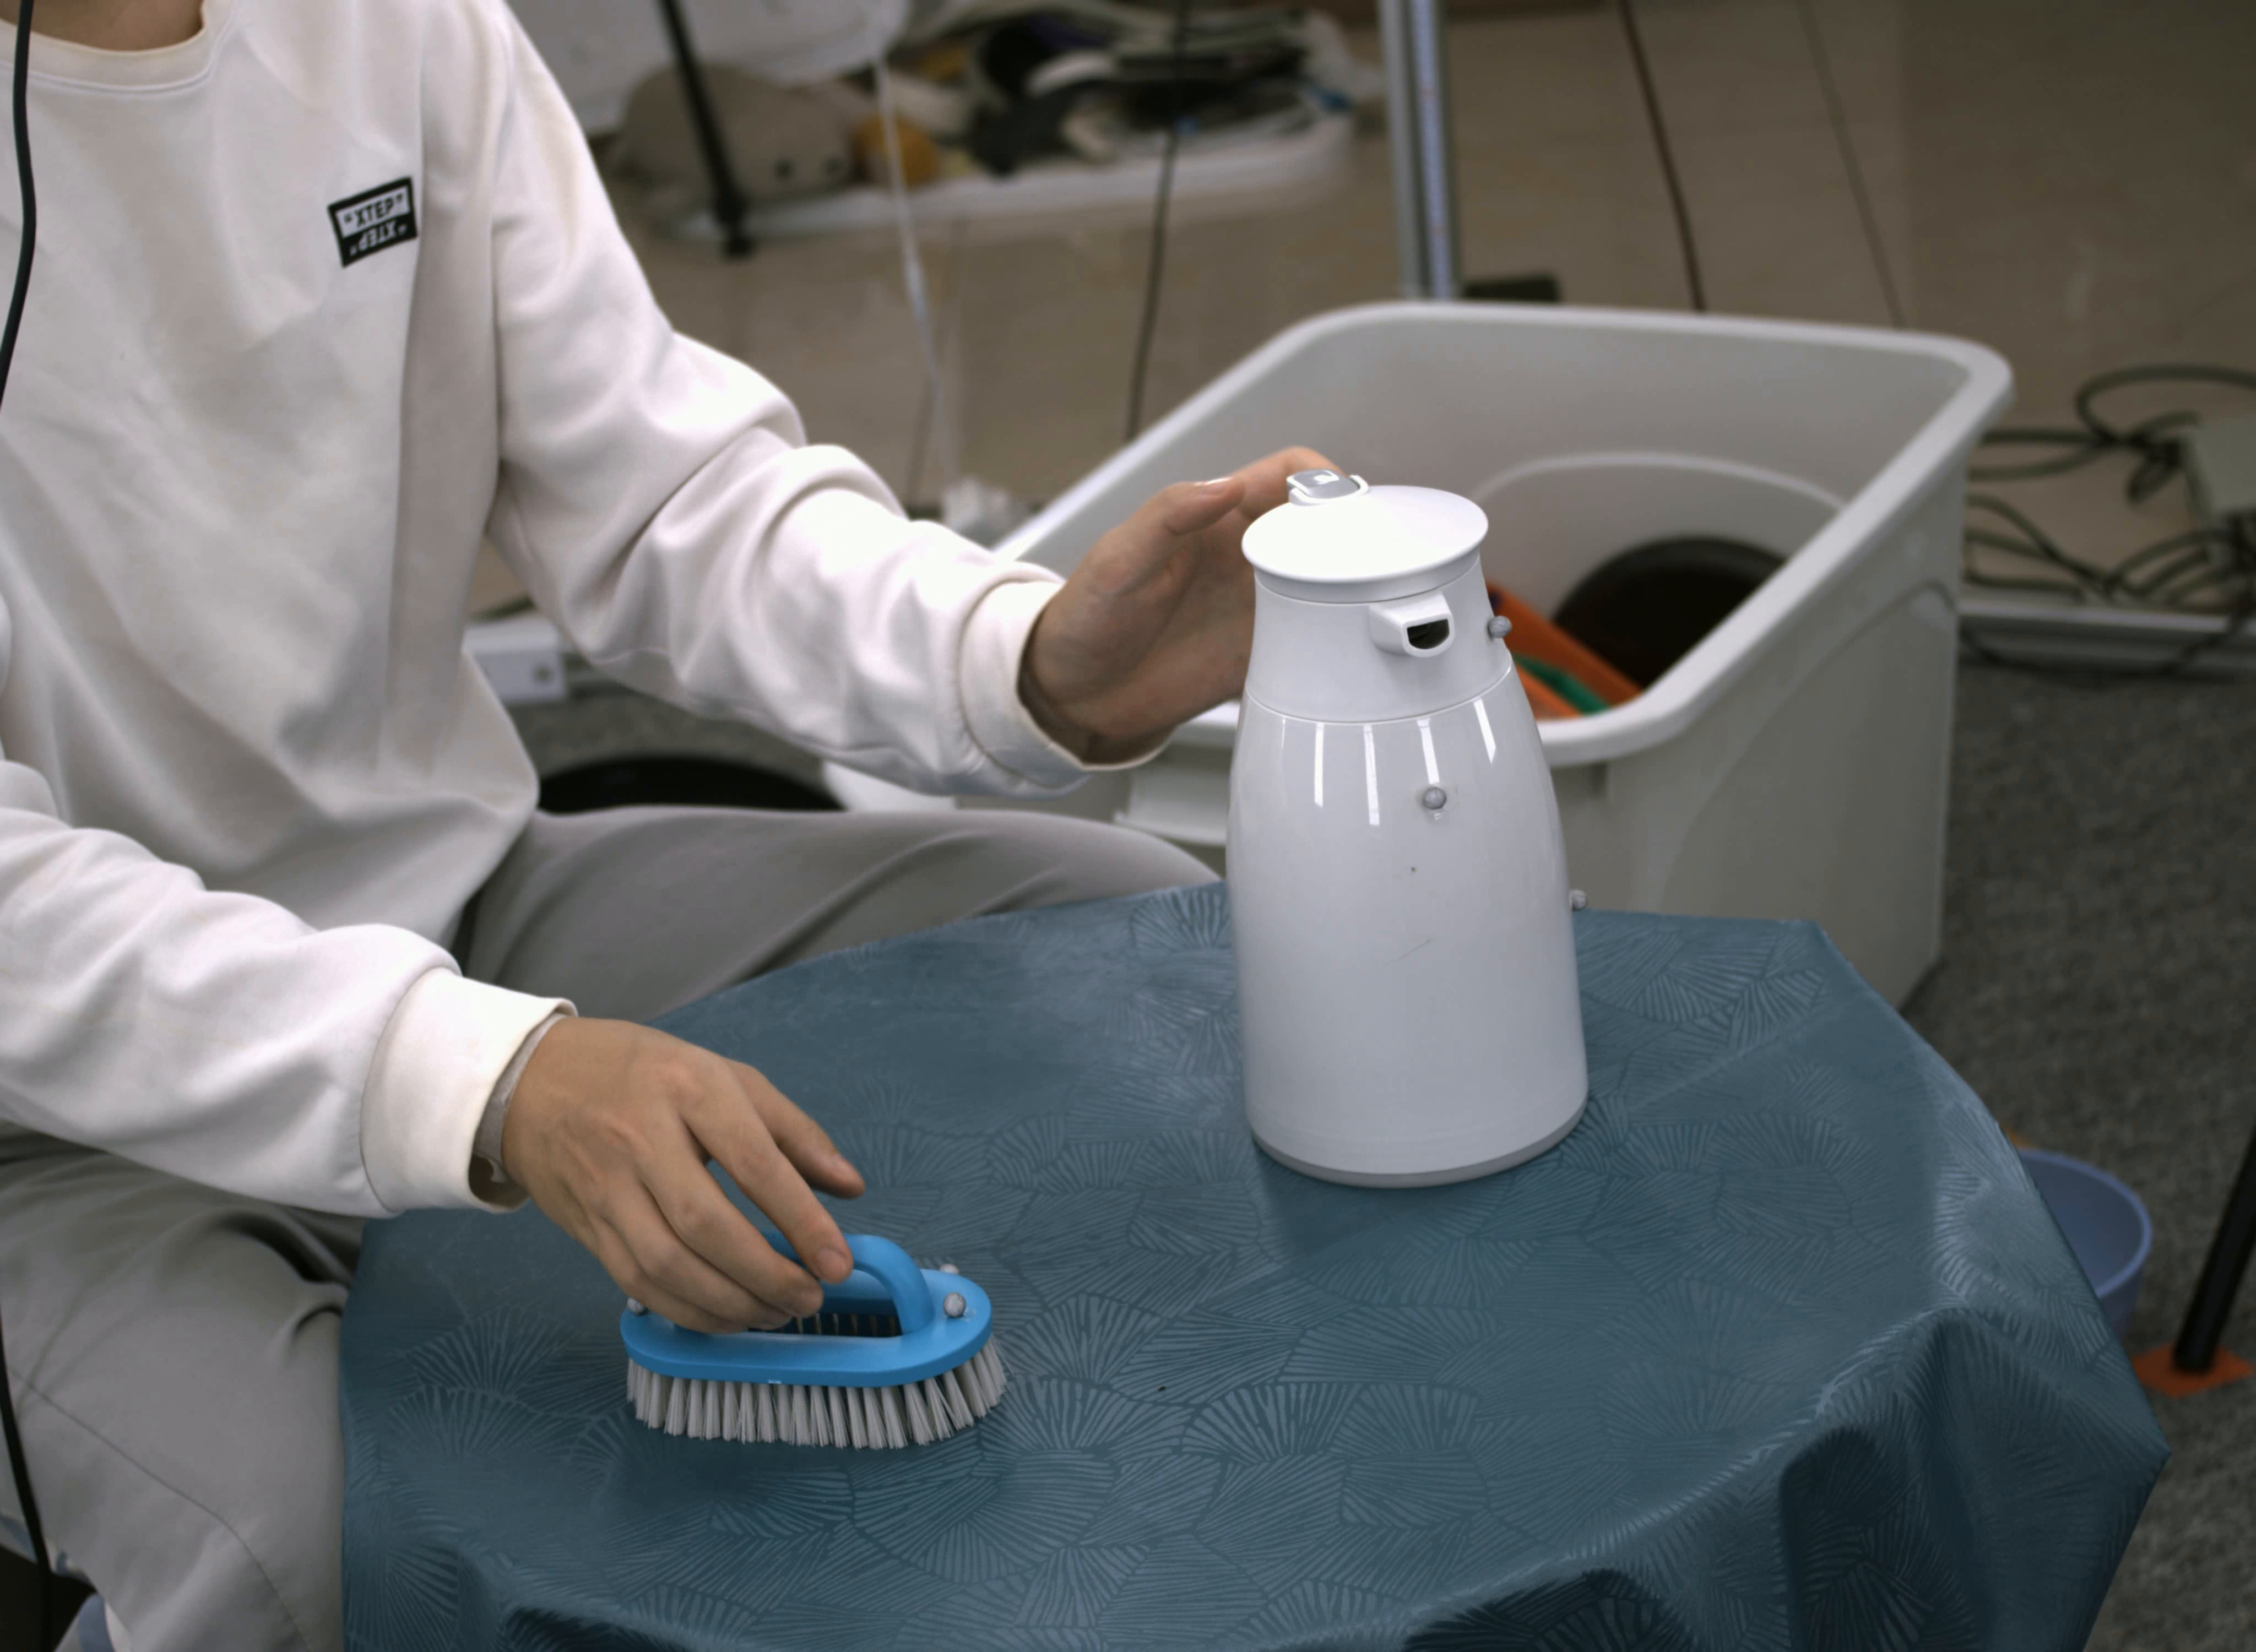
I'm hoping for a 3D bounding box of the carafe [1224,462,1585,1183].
[{"bbox_3d":[0.091,-0.011,2.146,0.132,0.252,0.165,-14,26,-15],"label":"carafe"}]

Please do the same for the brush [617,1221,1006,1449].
[{"bbox_3d":[-0.117,0.172,2.024,0.141,0.065,0.083,1,31,18],"label":"brush"}]
